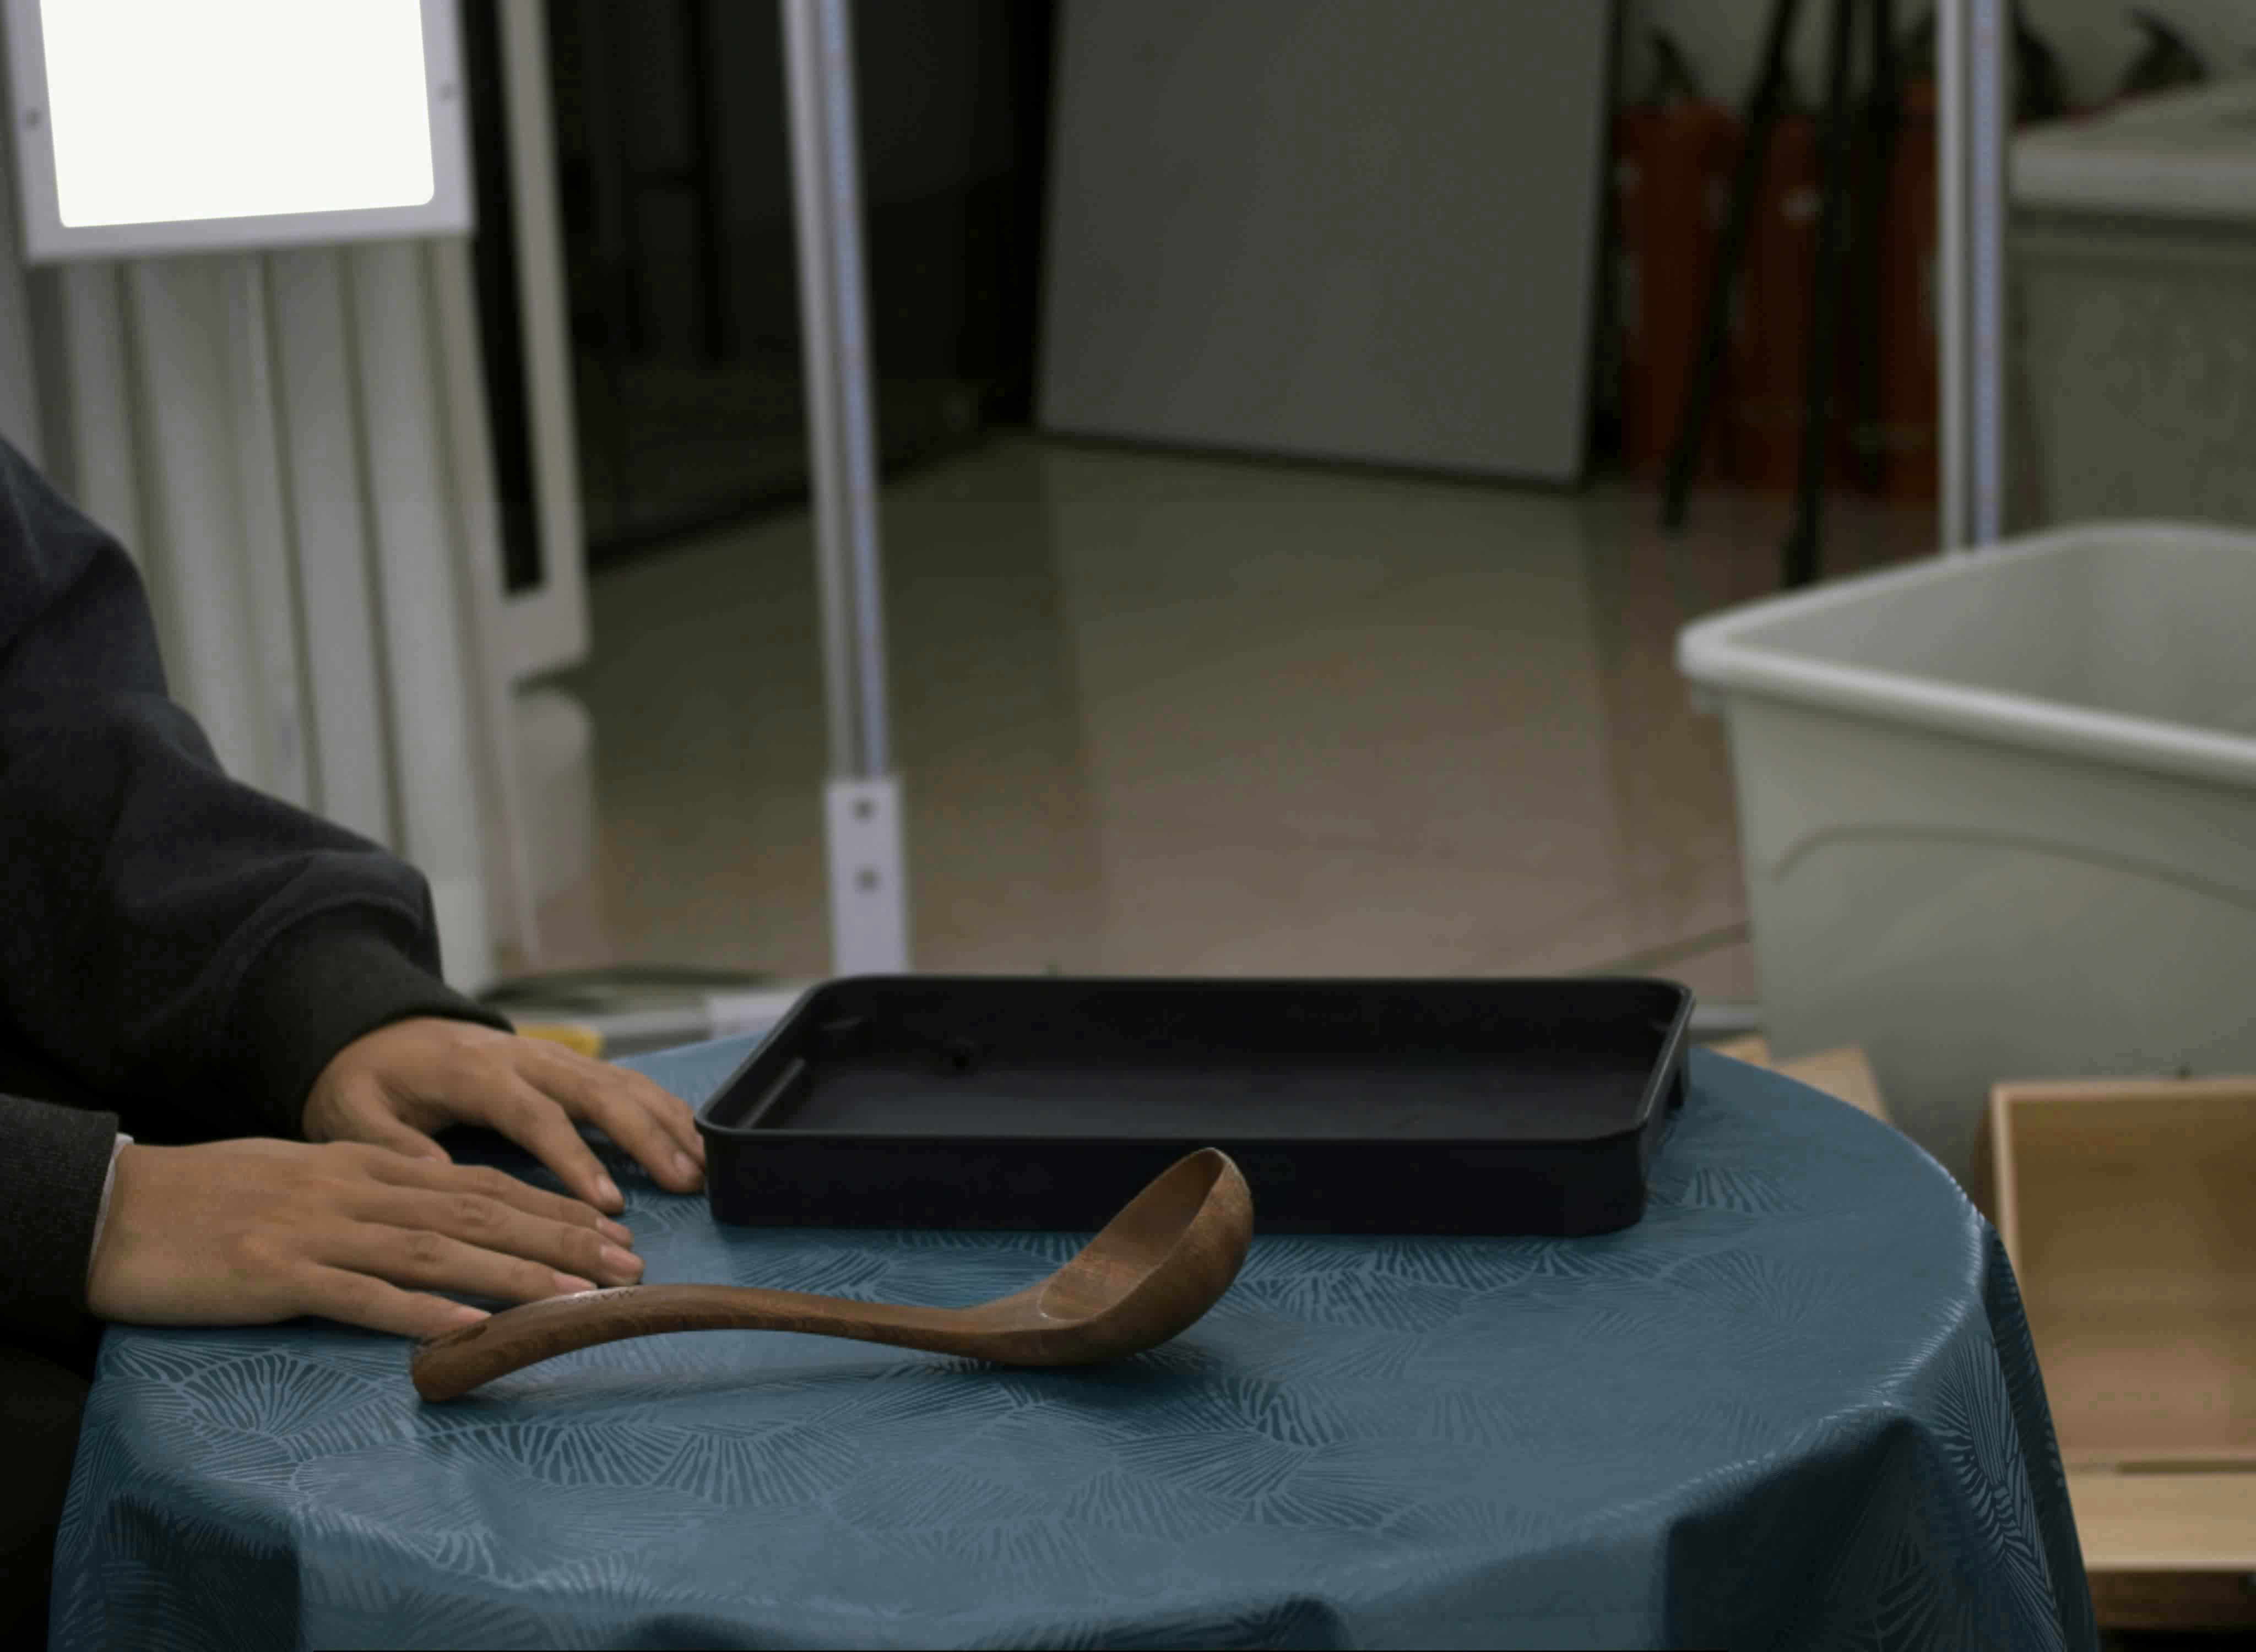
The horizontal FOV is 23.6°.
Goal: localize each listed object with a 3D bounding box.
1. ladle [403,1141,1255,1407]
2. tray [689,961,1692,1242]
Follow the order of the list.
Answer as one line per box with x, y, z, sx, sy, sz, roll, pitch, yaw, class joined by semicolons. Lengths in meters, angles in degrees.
-0.089;0.134;1.606;0.257;0.066;0.076;-3;14;3;ladle
0.025;0.090;1.803;0.316;0.037;0.183;1;15;14;tray
